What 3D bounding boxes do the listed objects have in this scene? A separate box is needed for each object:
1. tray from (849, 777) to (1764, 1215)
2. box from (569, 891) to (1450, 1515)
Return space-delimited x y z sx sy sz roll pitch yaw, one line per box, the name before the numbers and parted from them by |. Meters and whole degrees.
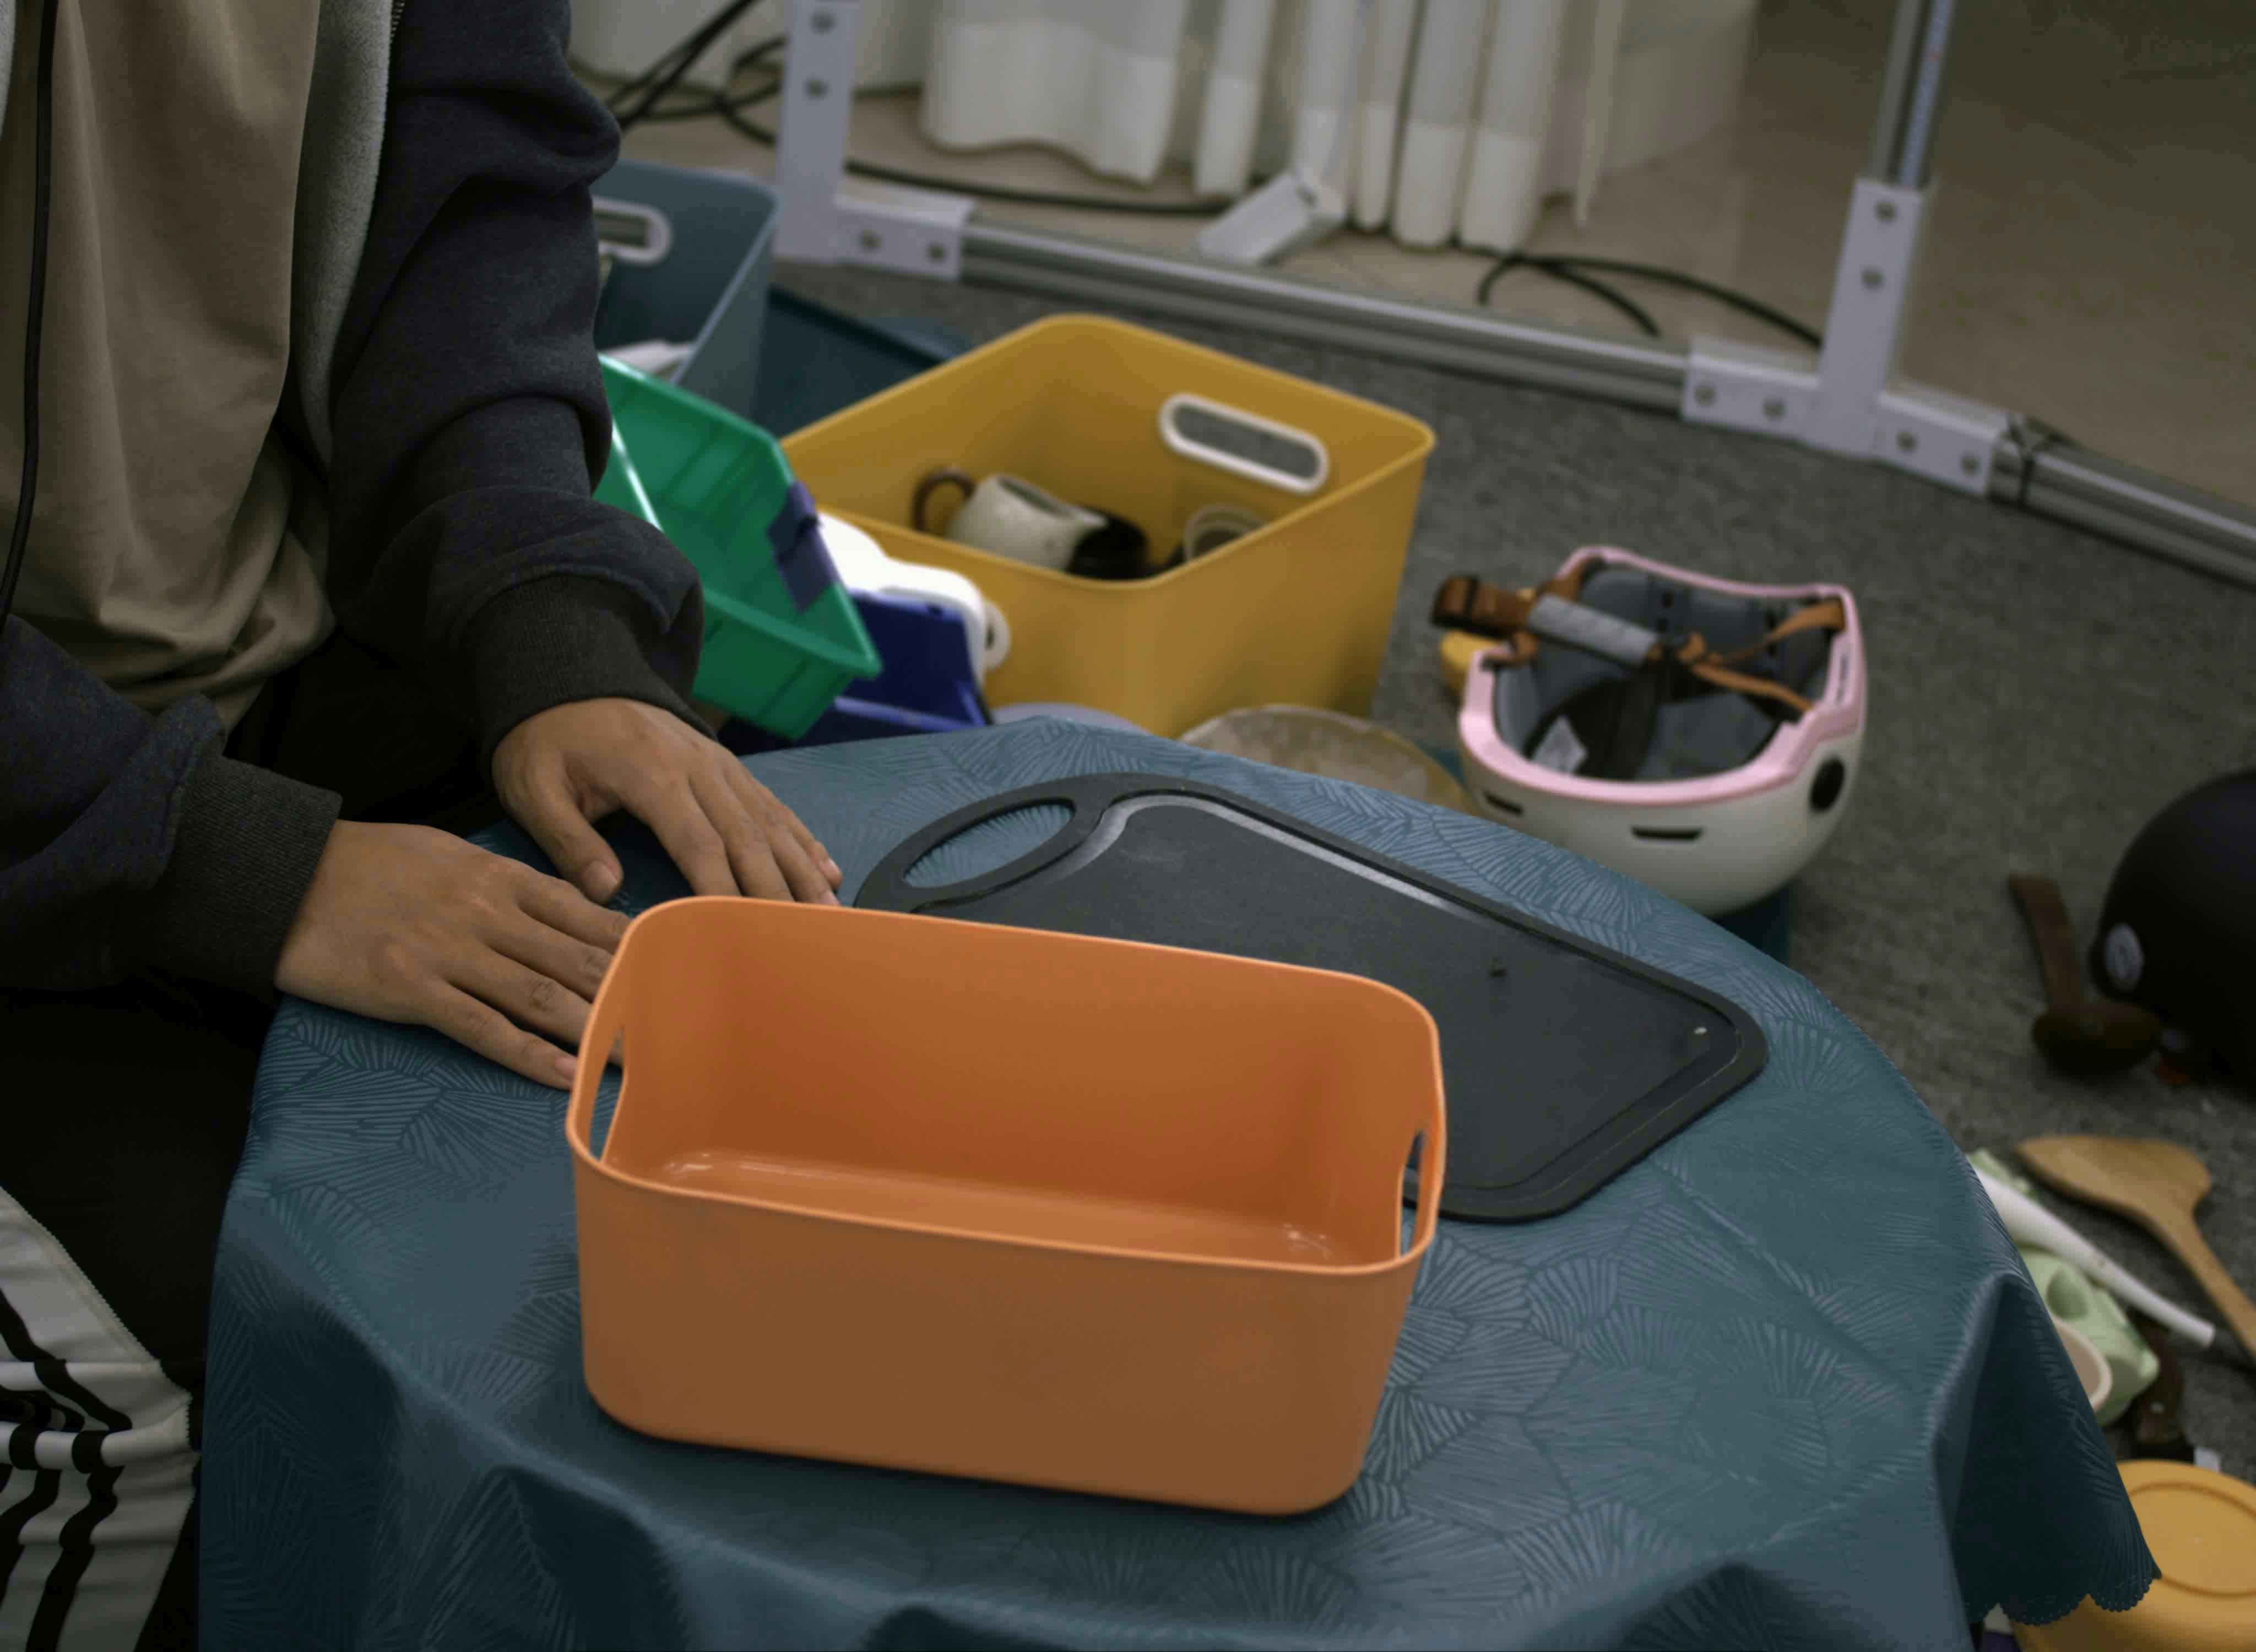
tray | 0.057 0.054 1.945 0.327 0.010 0.210 23 31 29
box | -0.040 0.120 1.685 0.272 0.102 0.200 7 27 1
